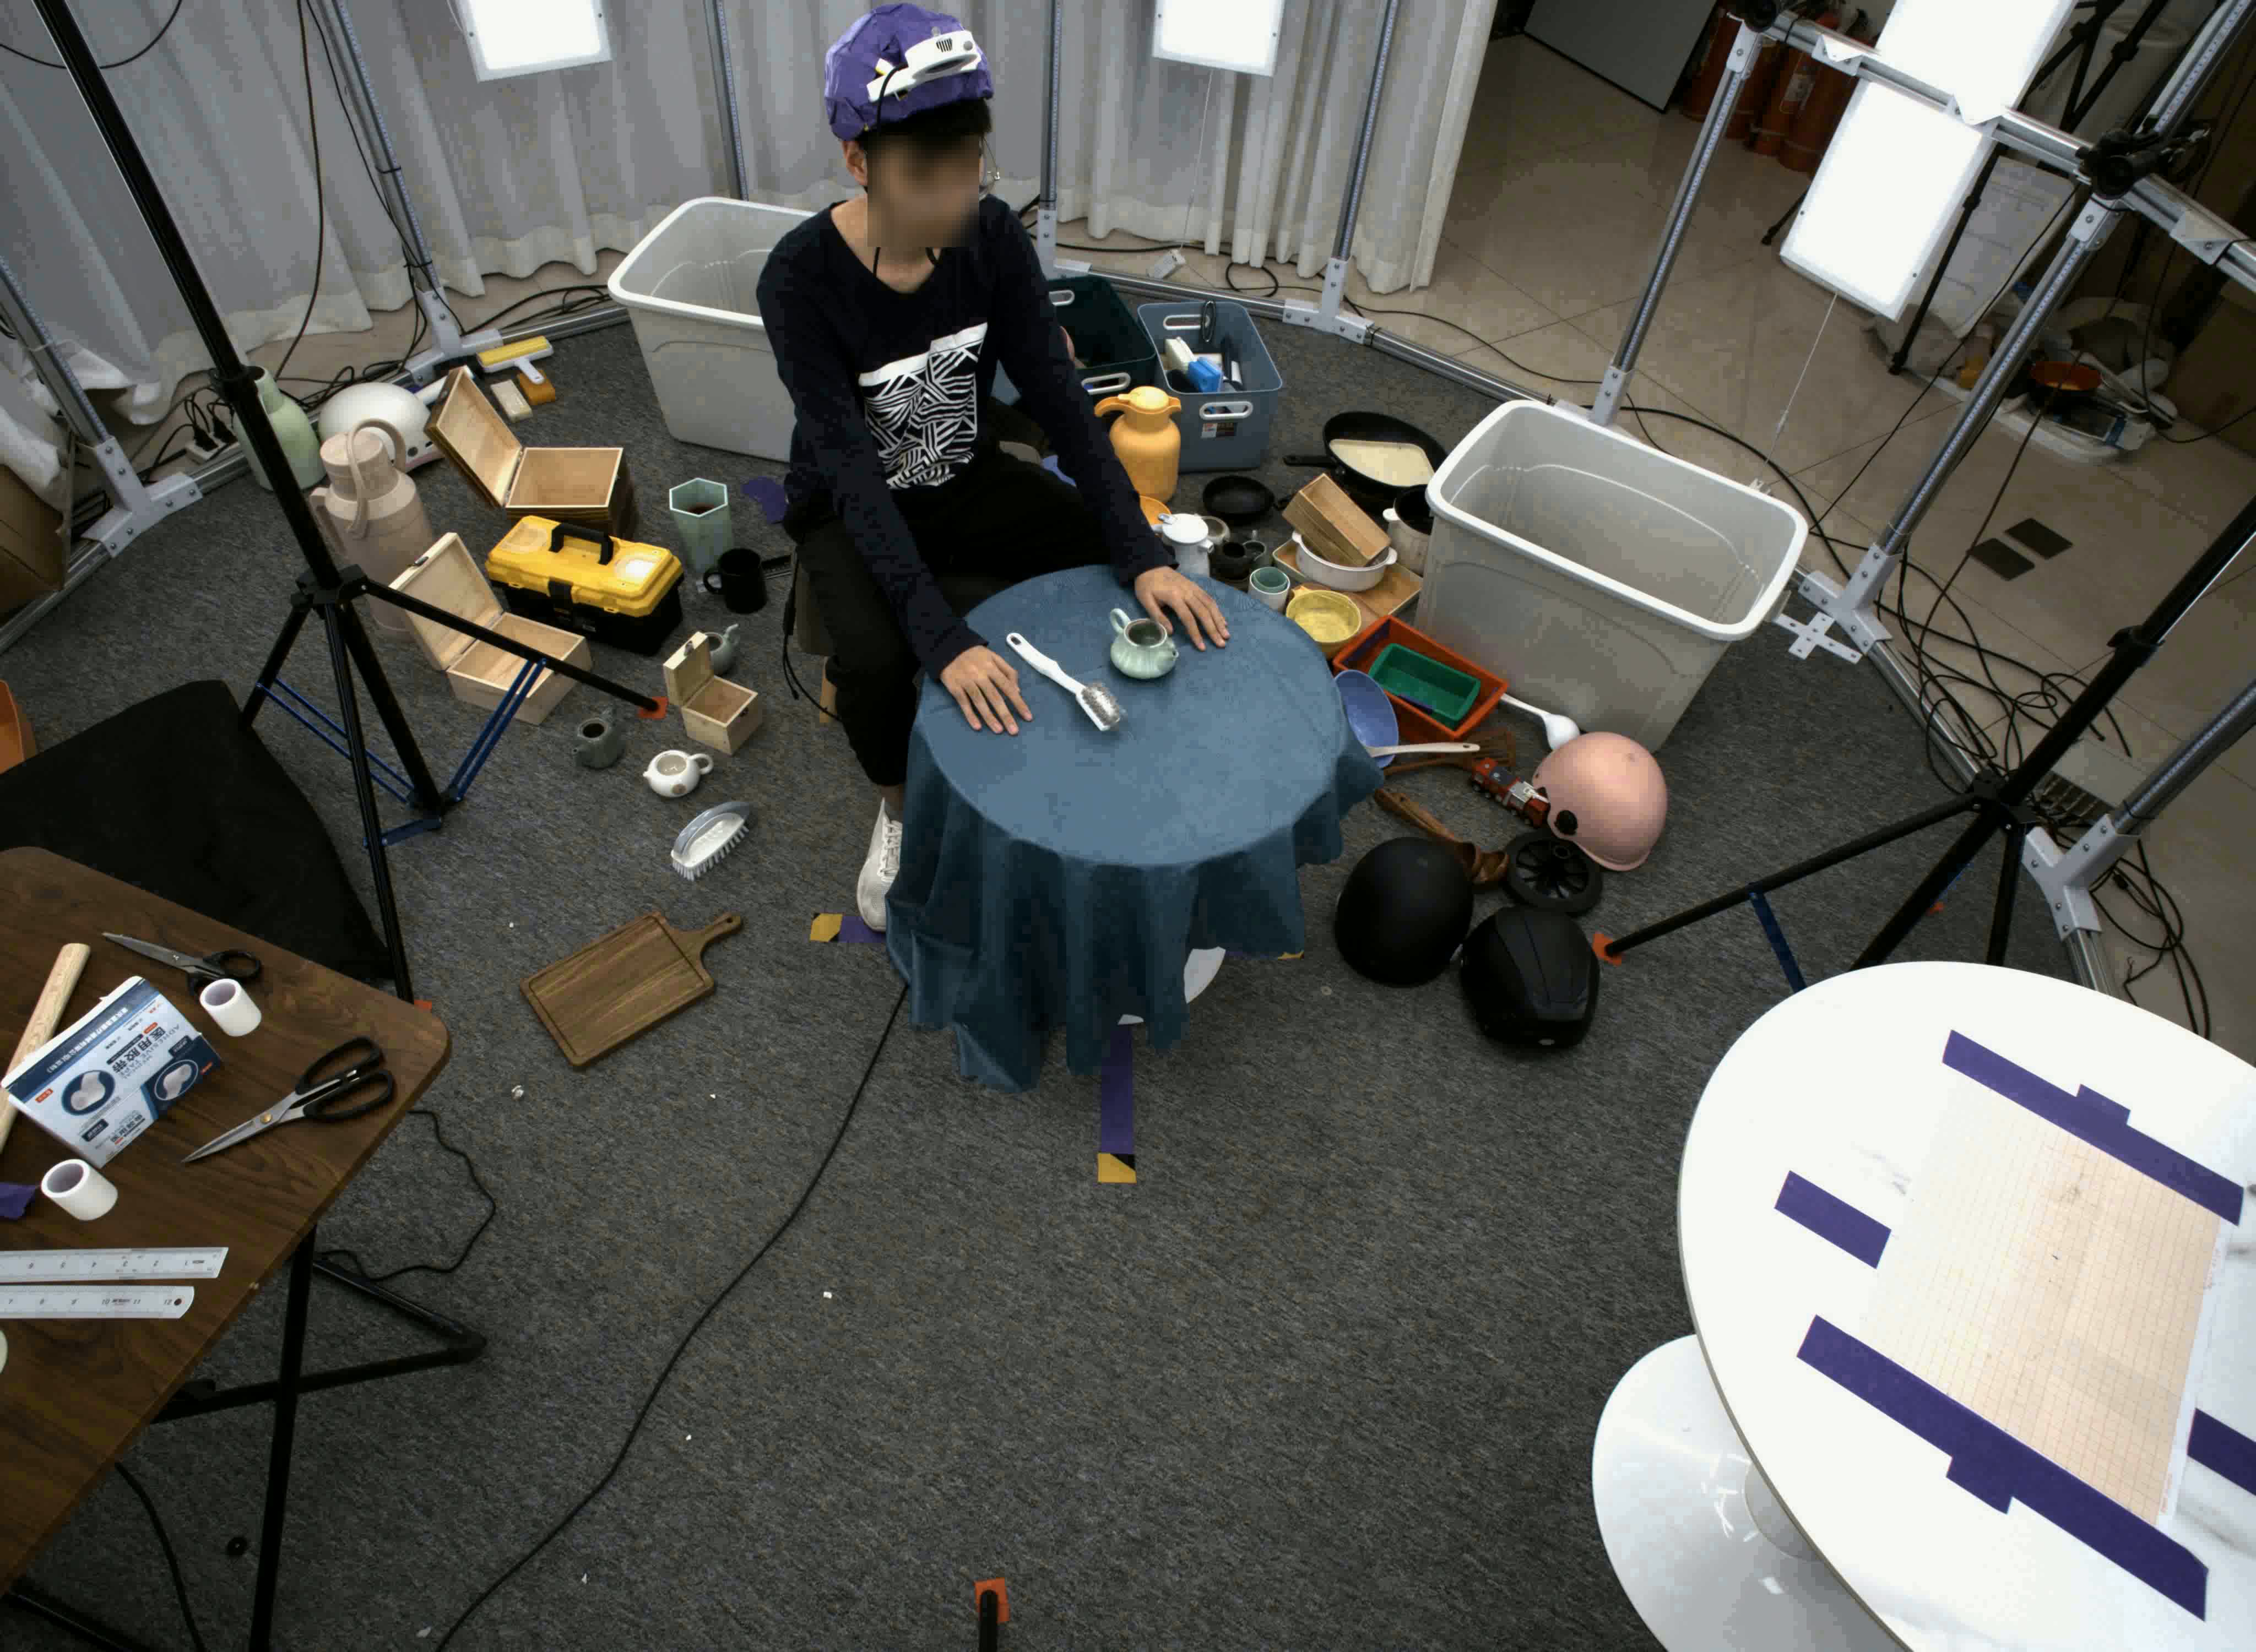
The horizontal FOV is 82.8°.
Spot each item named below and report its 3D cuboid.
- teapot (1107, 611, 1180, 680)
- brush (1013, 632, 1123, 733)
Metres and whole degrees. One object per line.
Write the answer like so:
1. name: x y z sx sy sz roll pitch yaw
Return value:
1. teapot: 0.021 -0.261 1.858 0.139 0.060 0.097 38 59 26
2. brush: -0.090 -0.218 1.821 0.034 0.049 0.248 -30 57 -22
